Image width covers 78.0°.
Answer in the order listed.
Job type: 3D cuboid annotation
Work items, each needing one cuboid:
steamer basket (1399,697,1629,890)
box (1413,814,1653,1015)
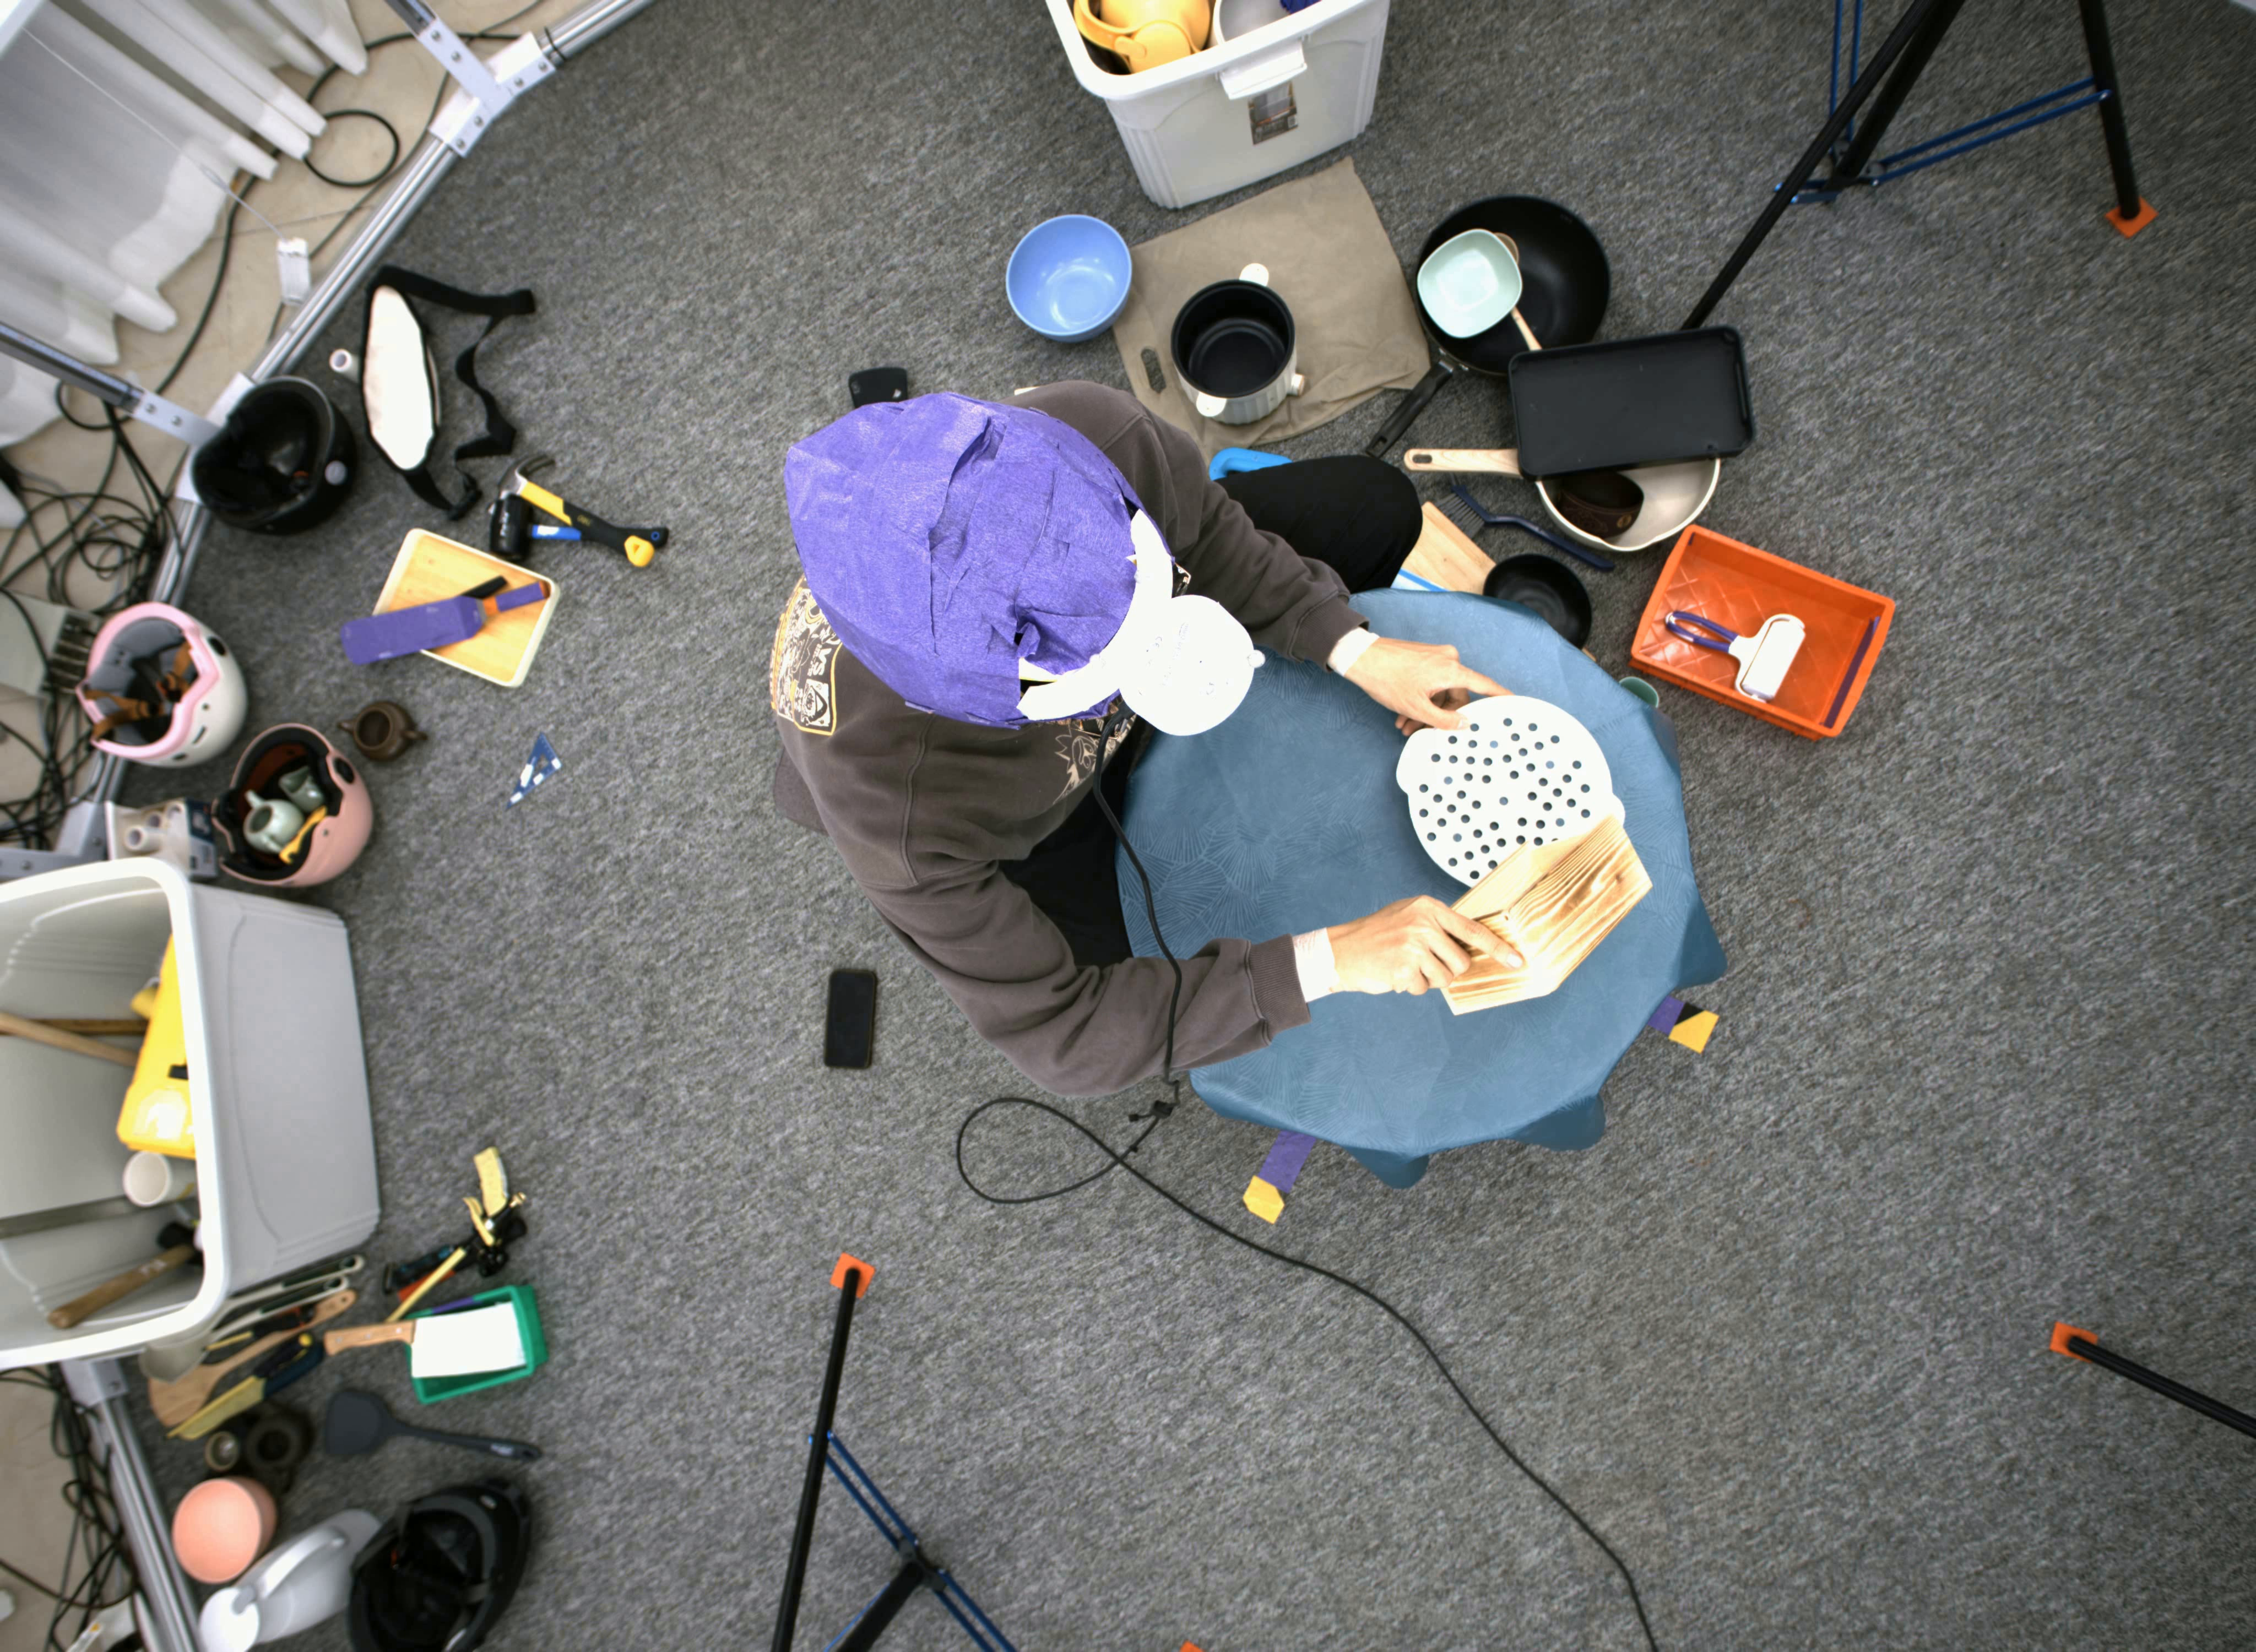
[{"bbox_3d":[0.391,-0.030,1.405,0.230,0.069,0.202,22,91,12],"label":"steamer basket"},{"bbox_3d":[0.368,0.076,1.238,0.109,0.207,0.080,-25,96,51],"label":"box"}]
